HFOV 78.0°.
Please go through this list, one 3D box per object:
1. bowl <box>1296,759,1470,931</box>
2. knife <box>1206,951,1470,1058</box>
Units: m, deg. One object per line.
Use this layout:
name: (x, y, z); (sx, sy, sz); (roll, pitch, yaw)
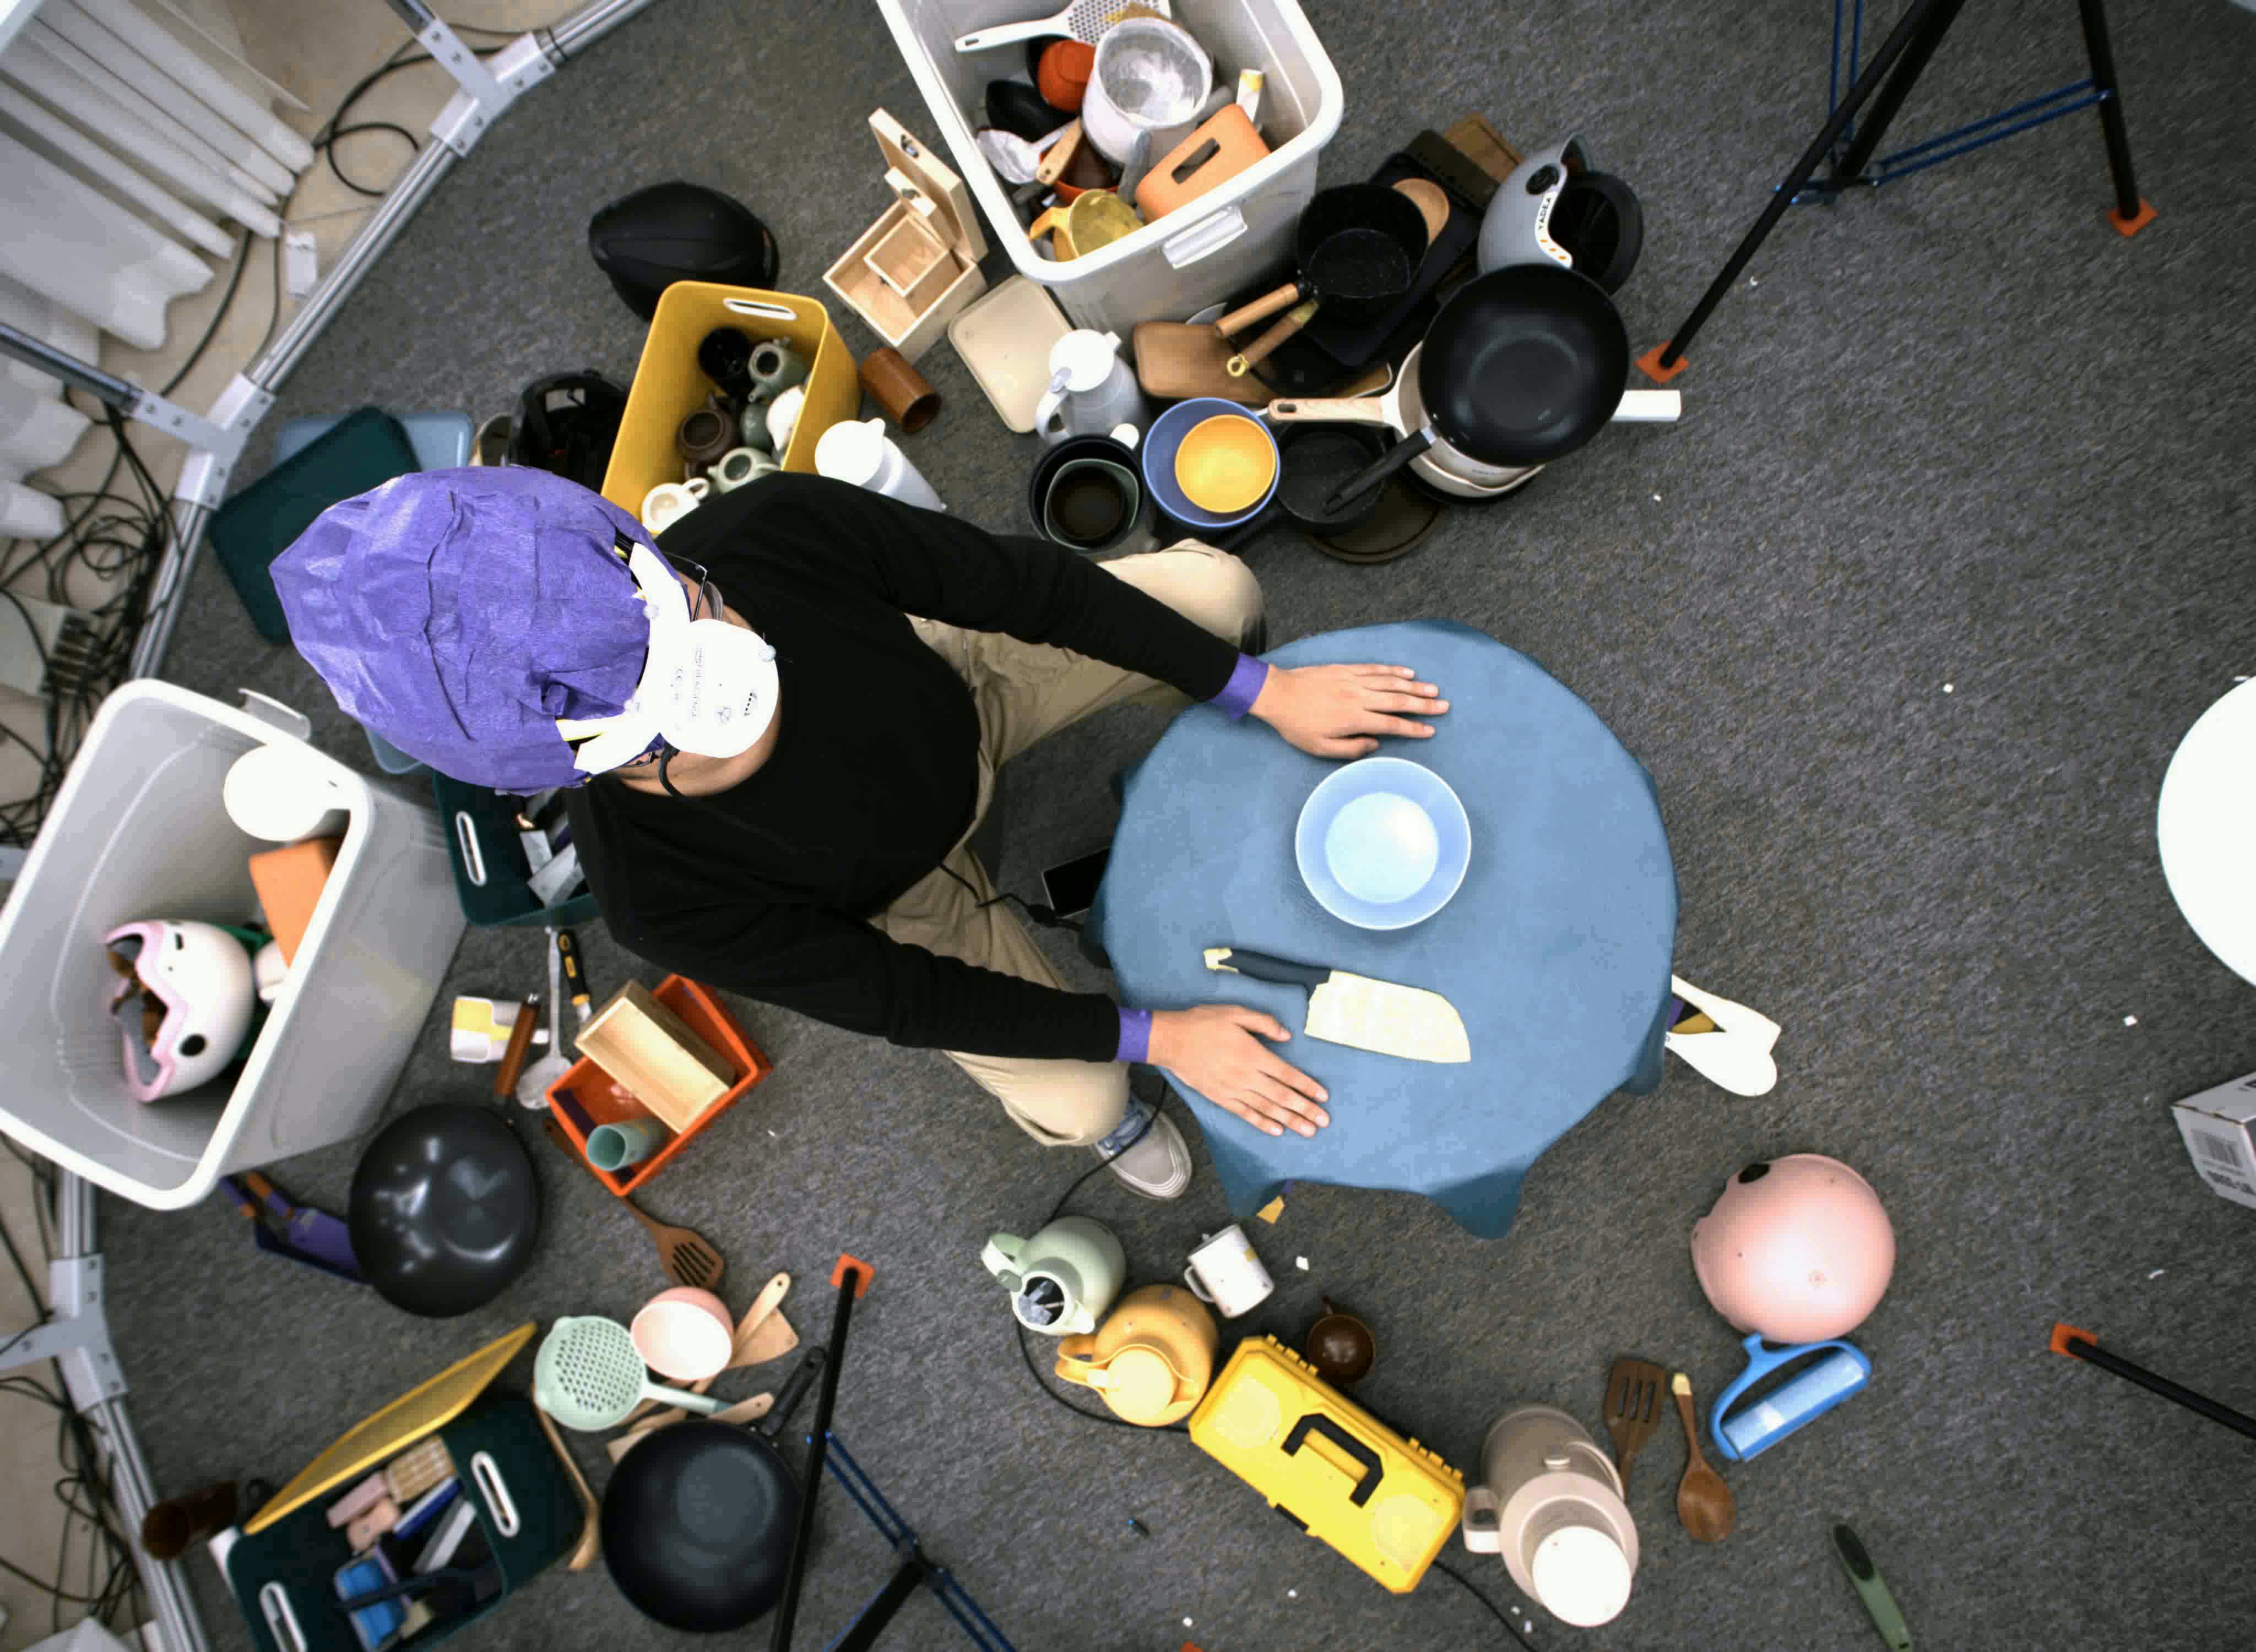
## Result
bowl: (0.264, 0.020, 1.430); (0.177, 0.070, 0.175); (-1, 87, 11)
knife: (0.218, 0.185, 1.459); (0.290, 0.027, 0.081); (15, 89, 10)
